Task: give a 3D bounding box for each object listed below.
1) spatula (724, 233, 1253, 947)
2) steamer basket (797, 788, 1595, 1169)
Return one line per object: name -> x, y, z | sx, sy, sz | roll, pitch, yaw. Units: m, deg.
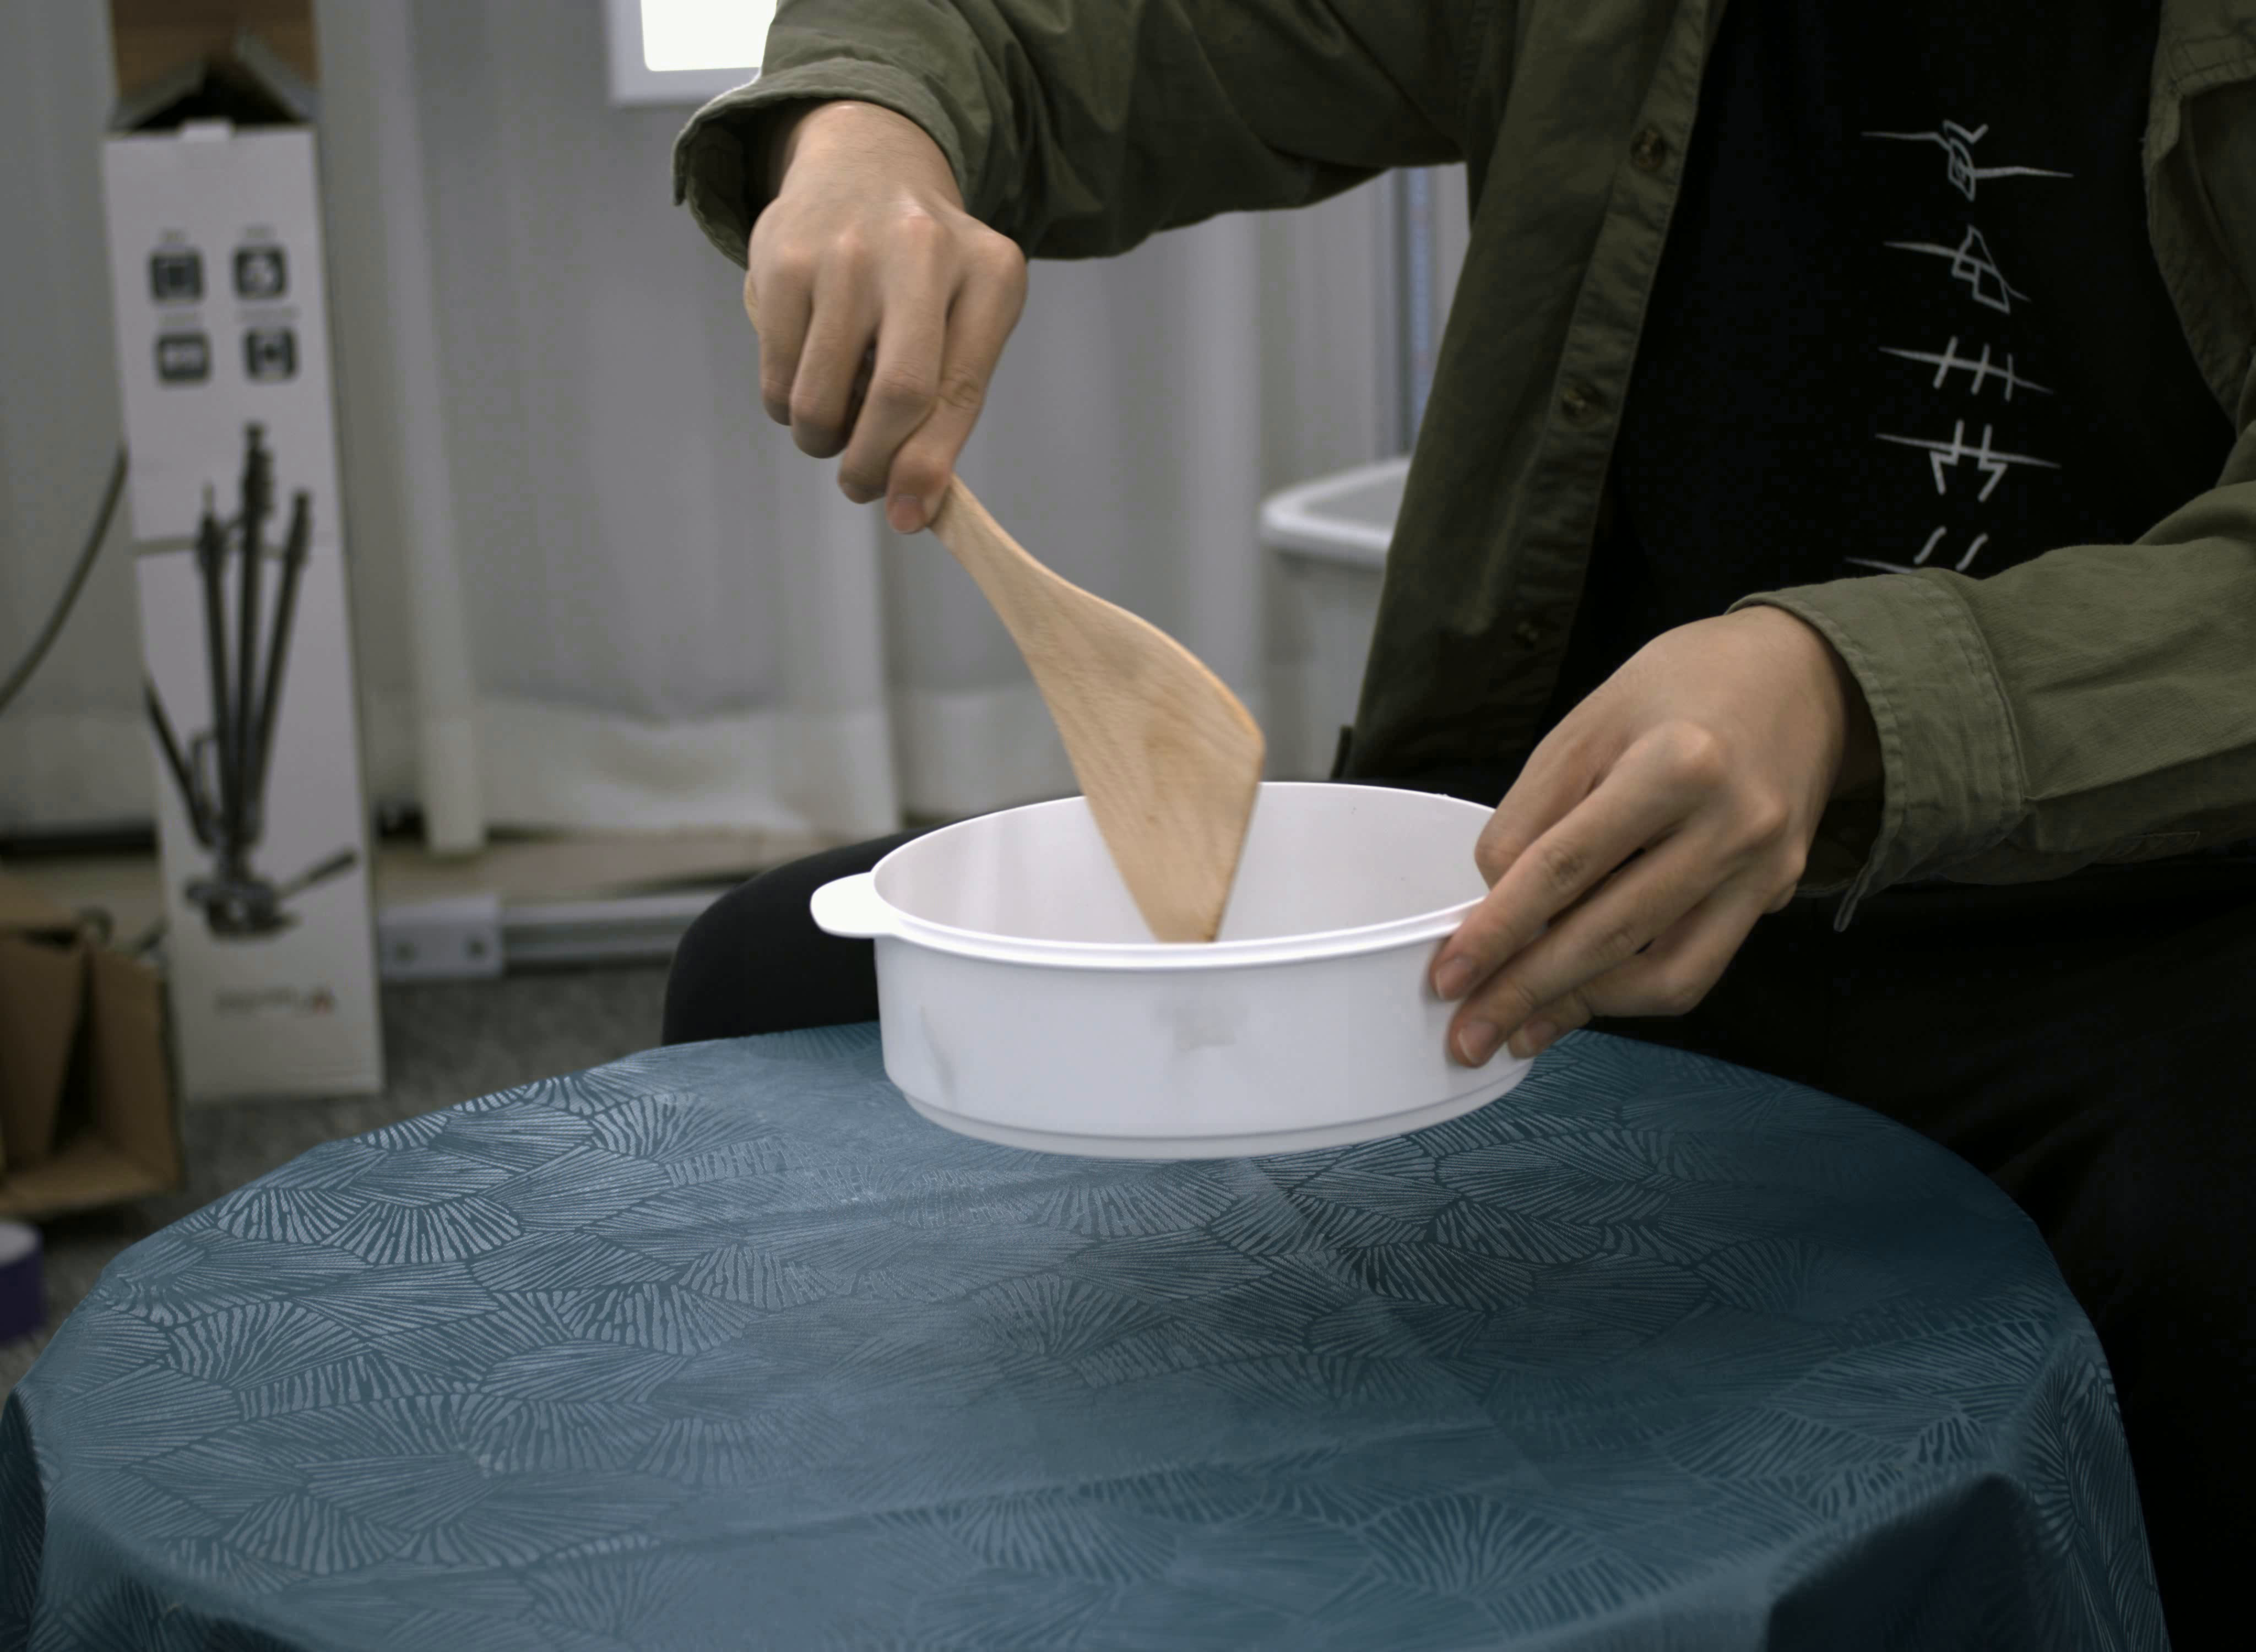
spatula -> -0.048, -0.087, 1.649 | 0.016, 0.079, 0.332 | -3, 38, -36
steamer basket -> 0.020, 0.044, 1.586 | 0.229, 0.069, 0.203 | -3, 13, -5
